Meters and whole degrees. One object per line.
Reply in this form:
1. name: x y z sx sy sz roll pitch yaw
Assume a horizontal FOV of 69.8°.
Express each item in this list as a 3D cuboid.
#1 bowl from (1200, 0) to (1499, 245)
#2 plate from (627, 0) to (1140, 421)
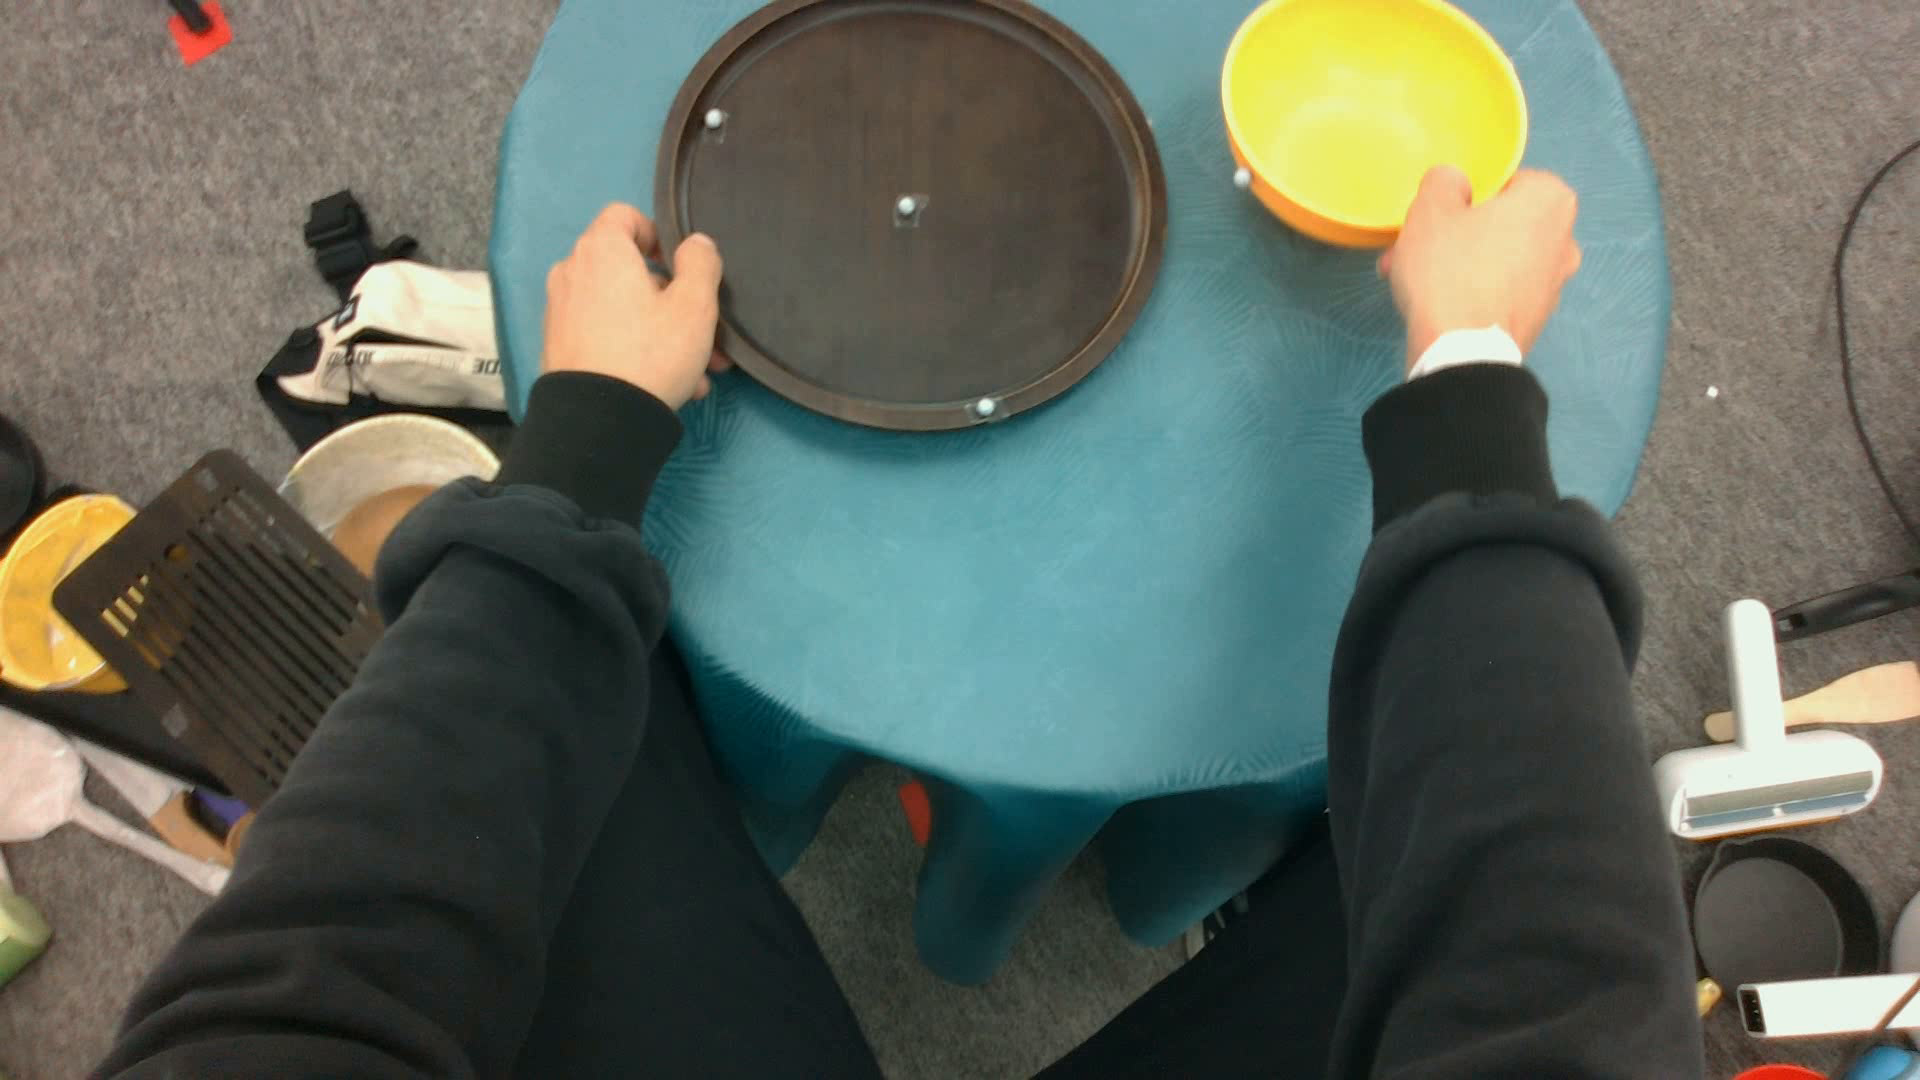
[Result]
1. bowl: 0.188 -0.201 0.691 0.145 0.060 0.146 1 68 -1
2. plate: -0.036 -0.174 0.684 0.255 0.029 0.255 2 73 -7
